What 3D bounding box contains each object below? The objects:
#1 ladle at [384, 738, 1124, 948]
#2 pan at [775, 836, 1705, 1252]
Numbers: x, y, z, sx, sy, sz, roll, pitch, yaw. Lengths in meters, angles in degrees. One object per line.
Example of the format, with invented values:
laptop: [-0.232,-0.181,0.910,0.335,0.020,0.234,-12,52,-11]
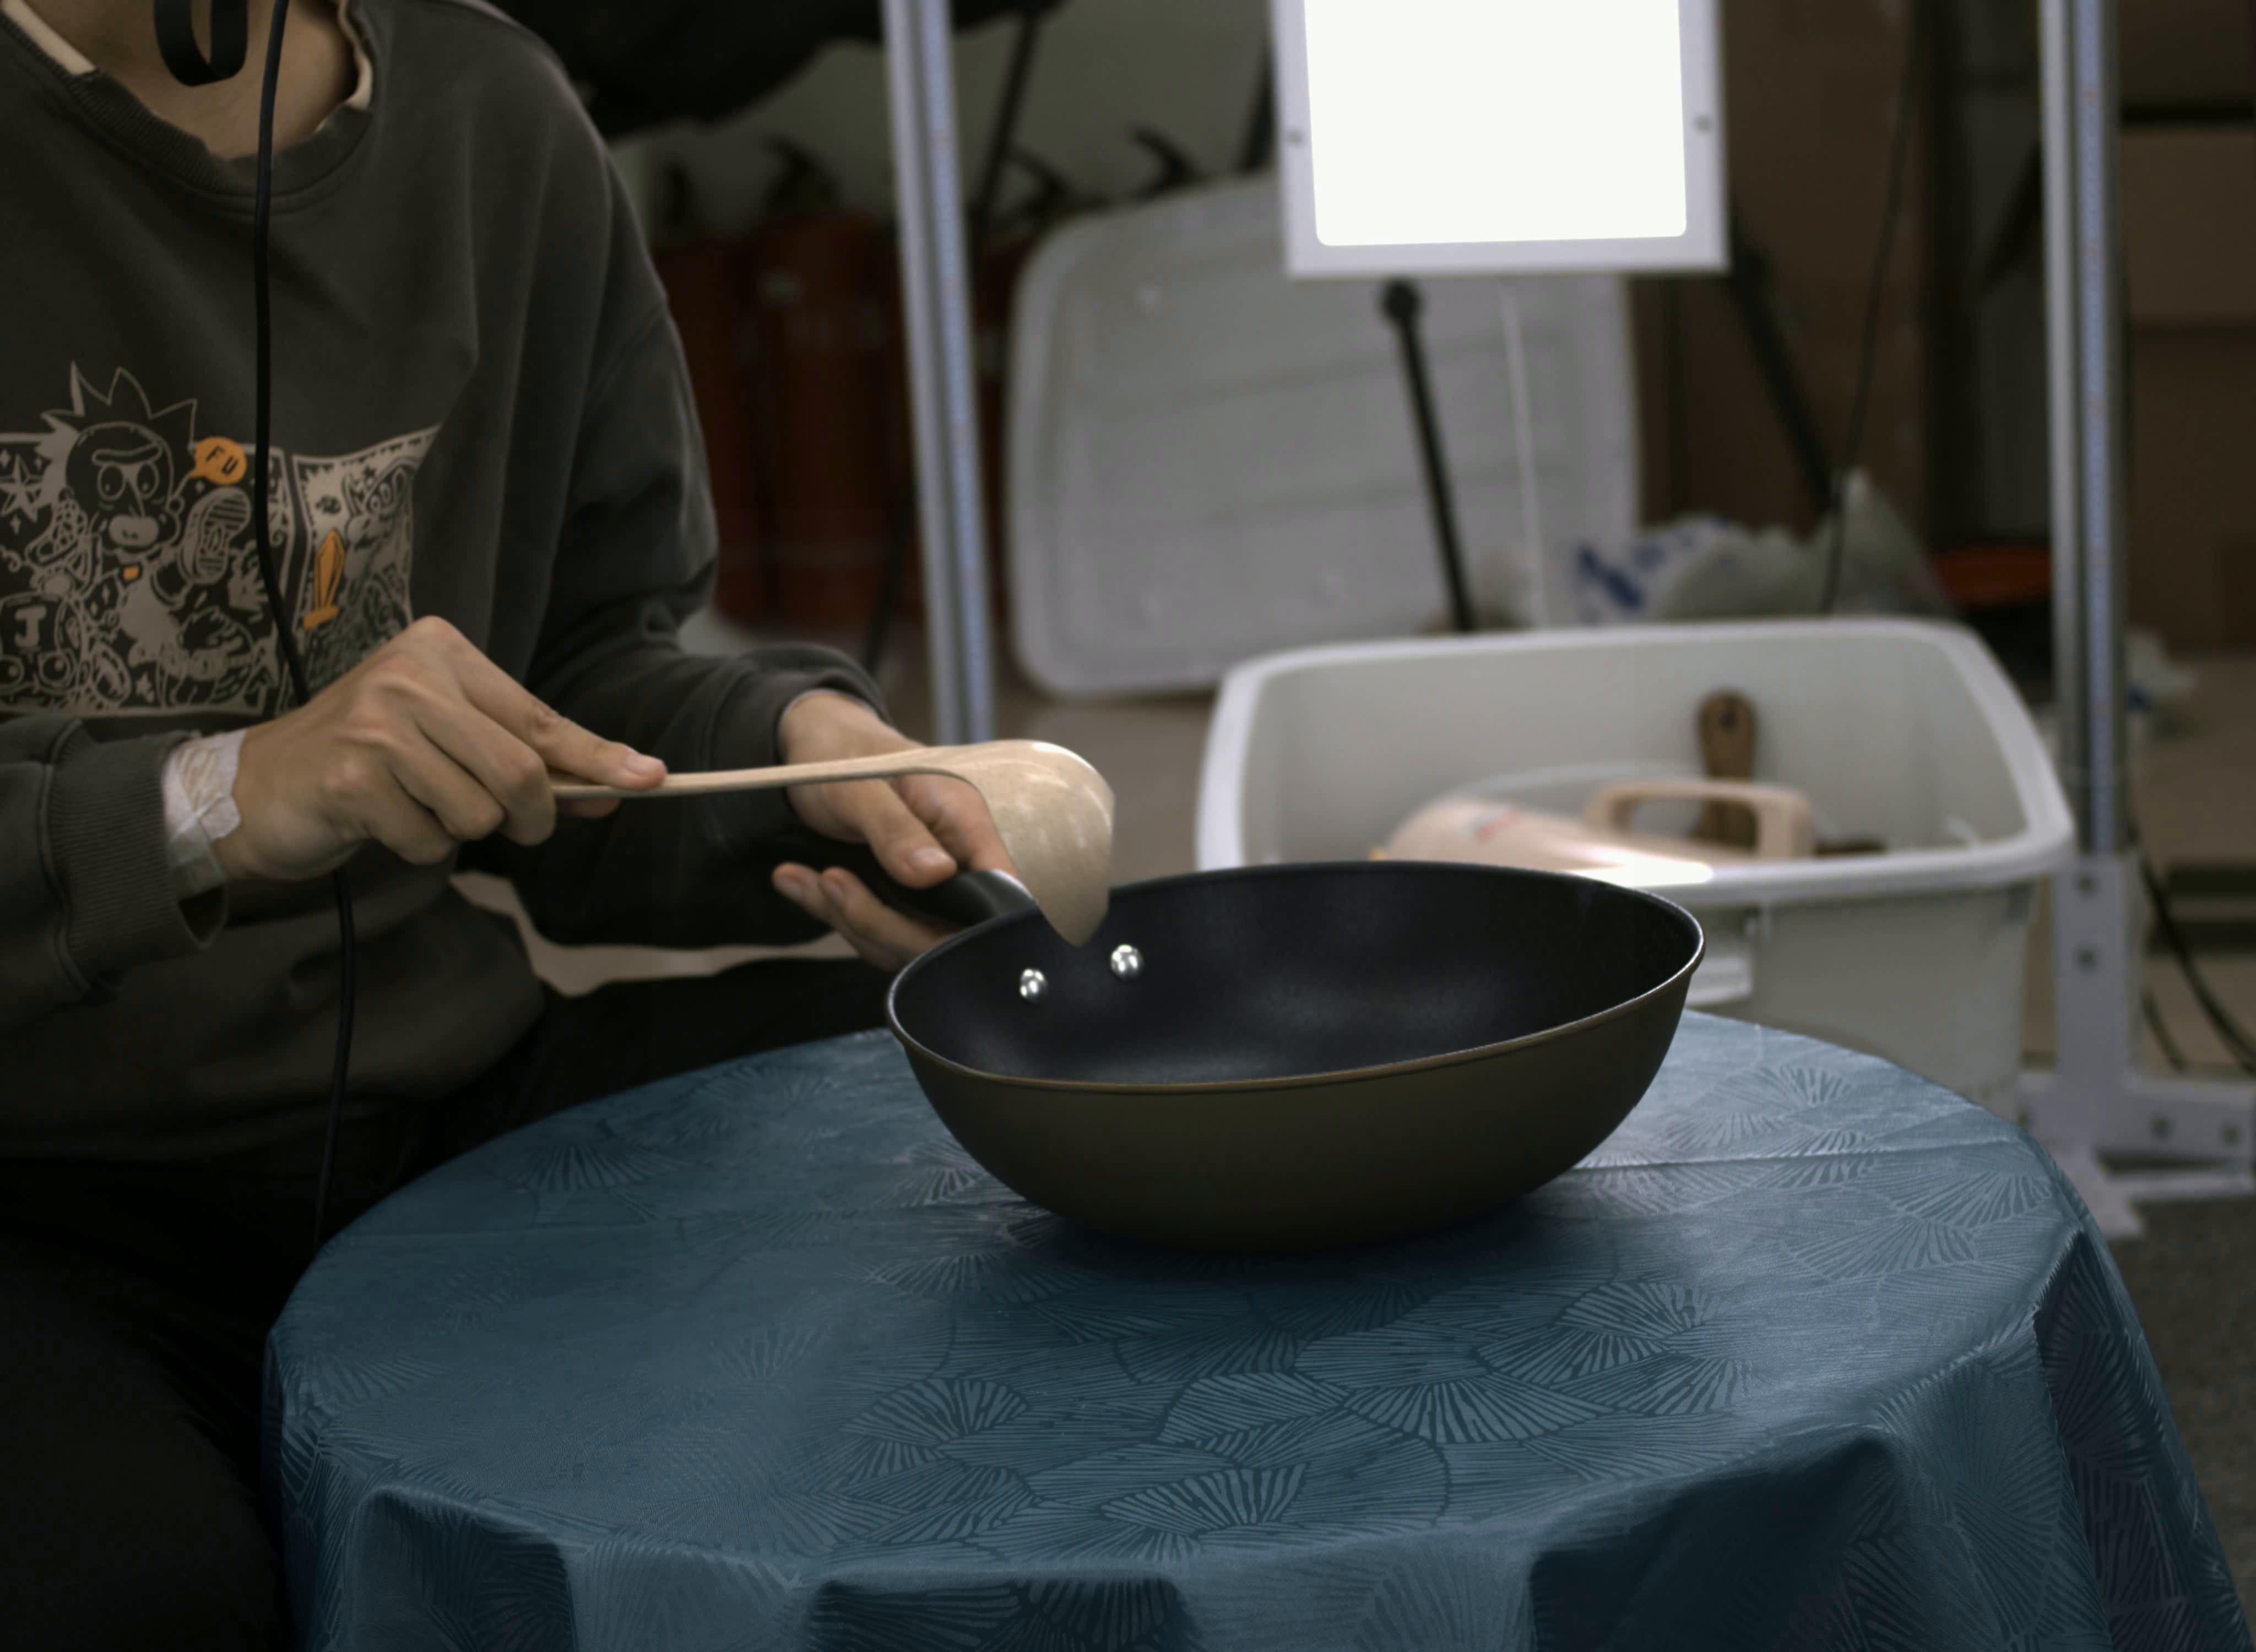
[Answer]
ladle: [-0.127,0.010,1.897,0.255,0.073,0.071,-2,22,8]
pan: [0.004,0.071,1.946,0.281,0.087,0.473,-15,15,-33]
